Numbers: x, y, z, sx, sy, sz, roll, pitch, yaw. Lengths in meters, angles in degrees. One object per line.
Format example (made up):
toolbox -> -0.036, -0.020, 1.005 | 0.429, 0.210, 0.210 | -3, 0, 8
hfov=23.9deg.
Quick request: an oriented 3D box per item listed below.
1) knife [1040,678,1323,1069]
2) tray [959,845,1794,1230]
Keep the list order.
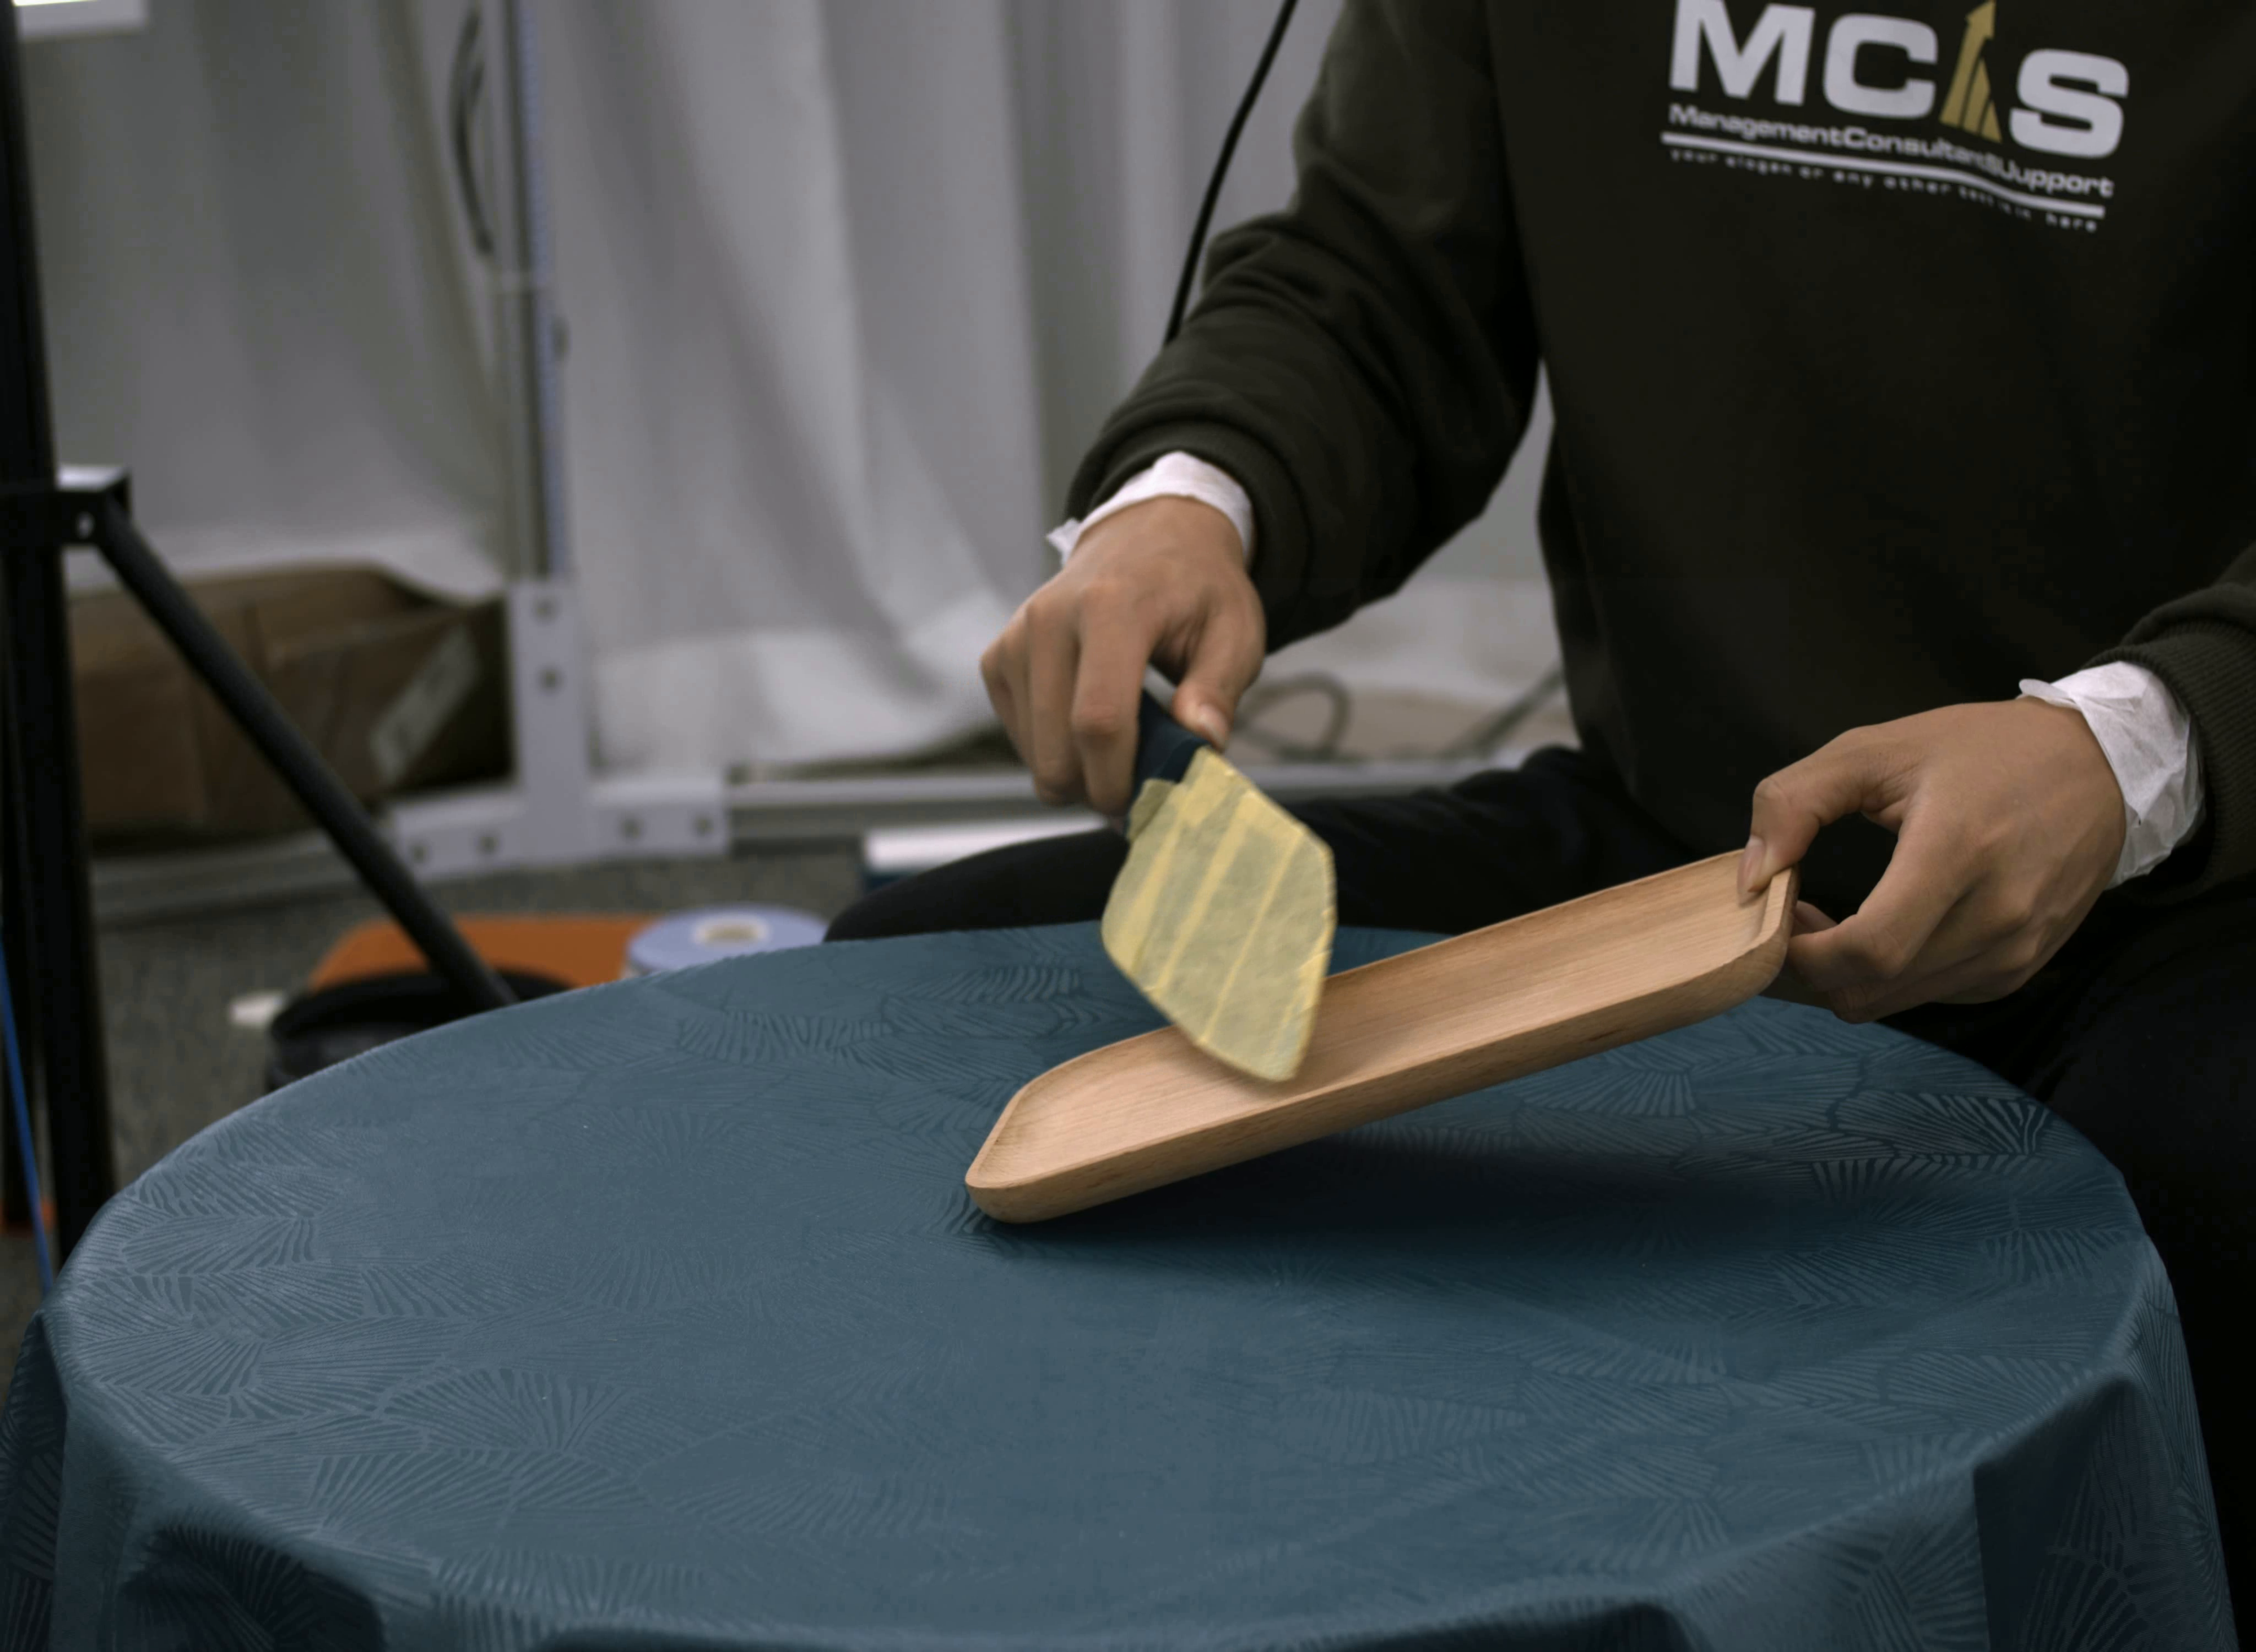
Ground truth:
knife -> 0.011, 0.011, 1.652 | 0.027, 0.081, 0.294 | 25, 10, -21
tray -> 0.074, 0.062, 1.546 | 0.252, 0.023, 0.130 | -19, 9, 16
